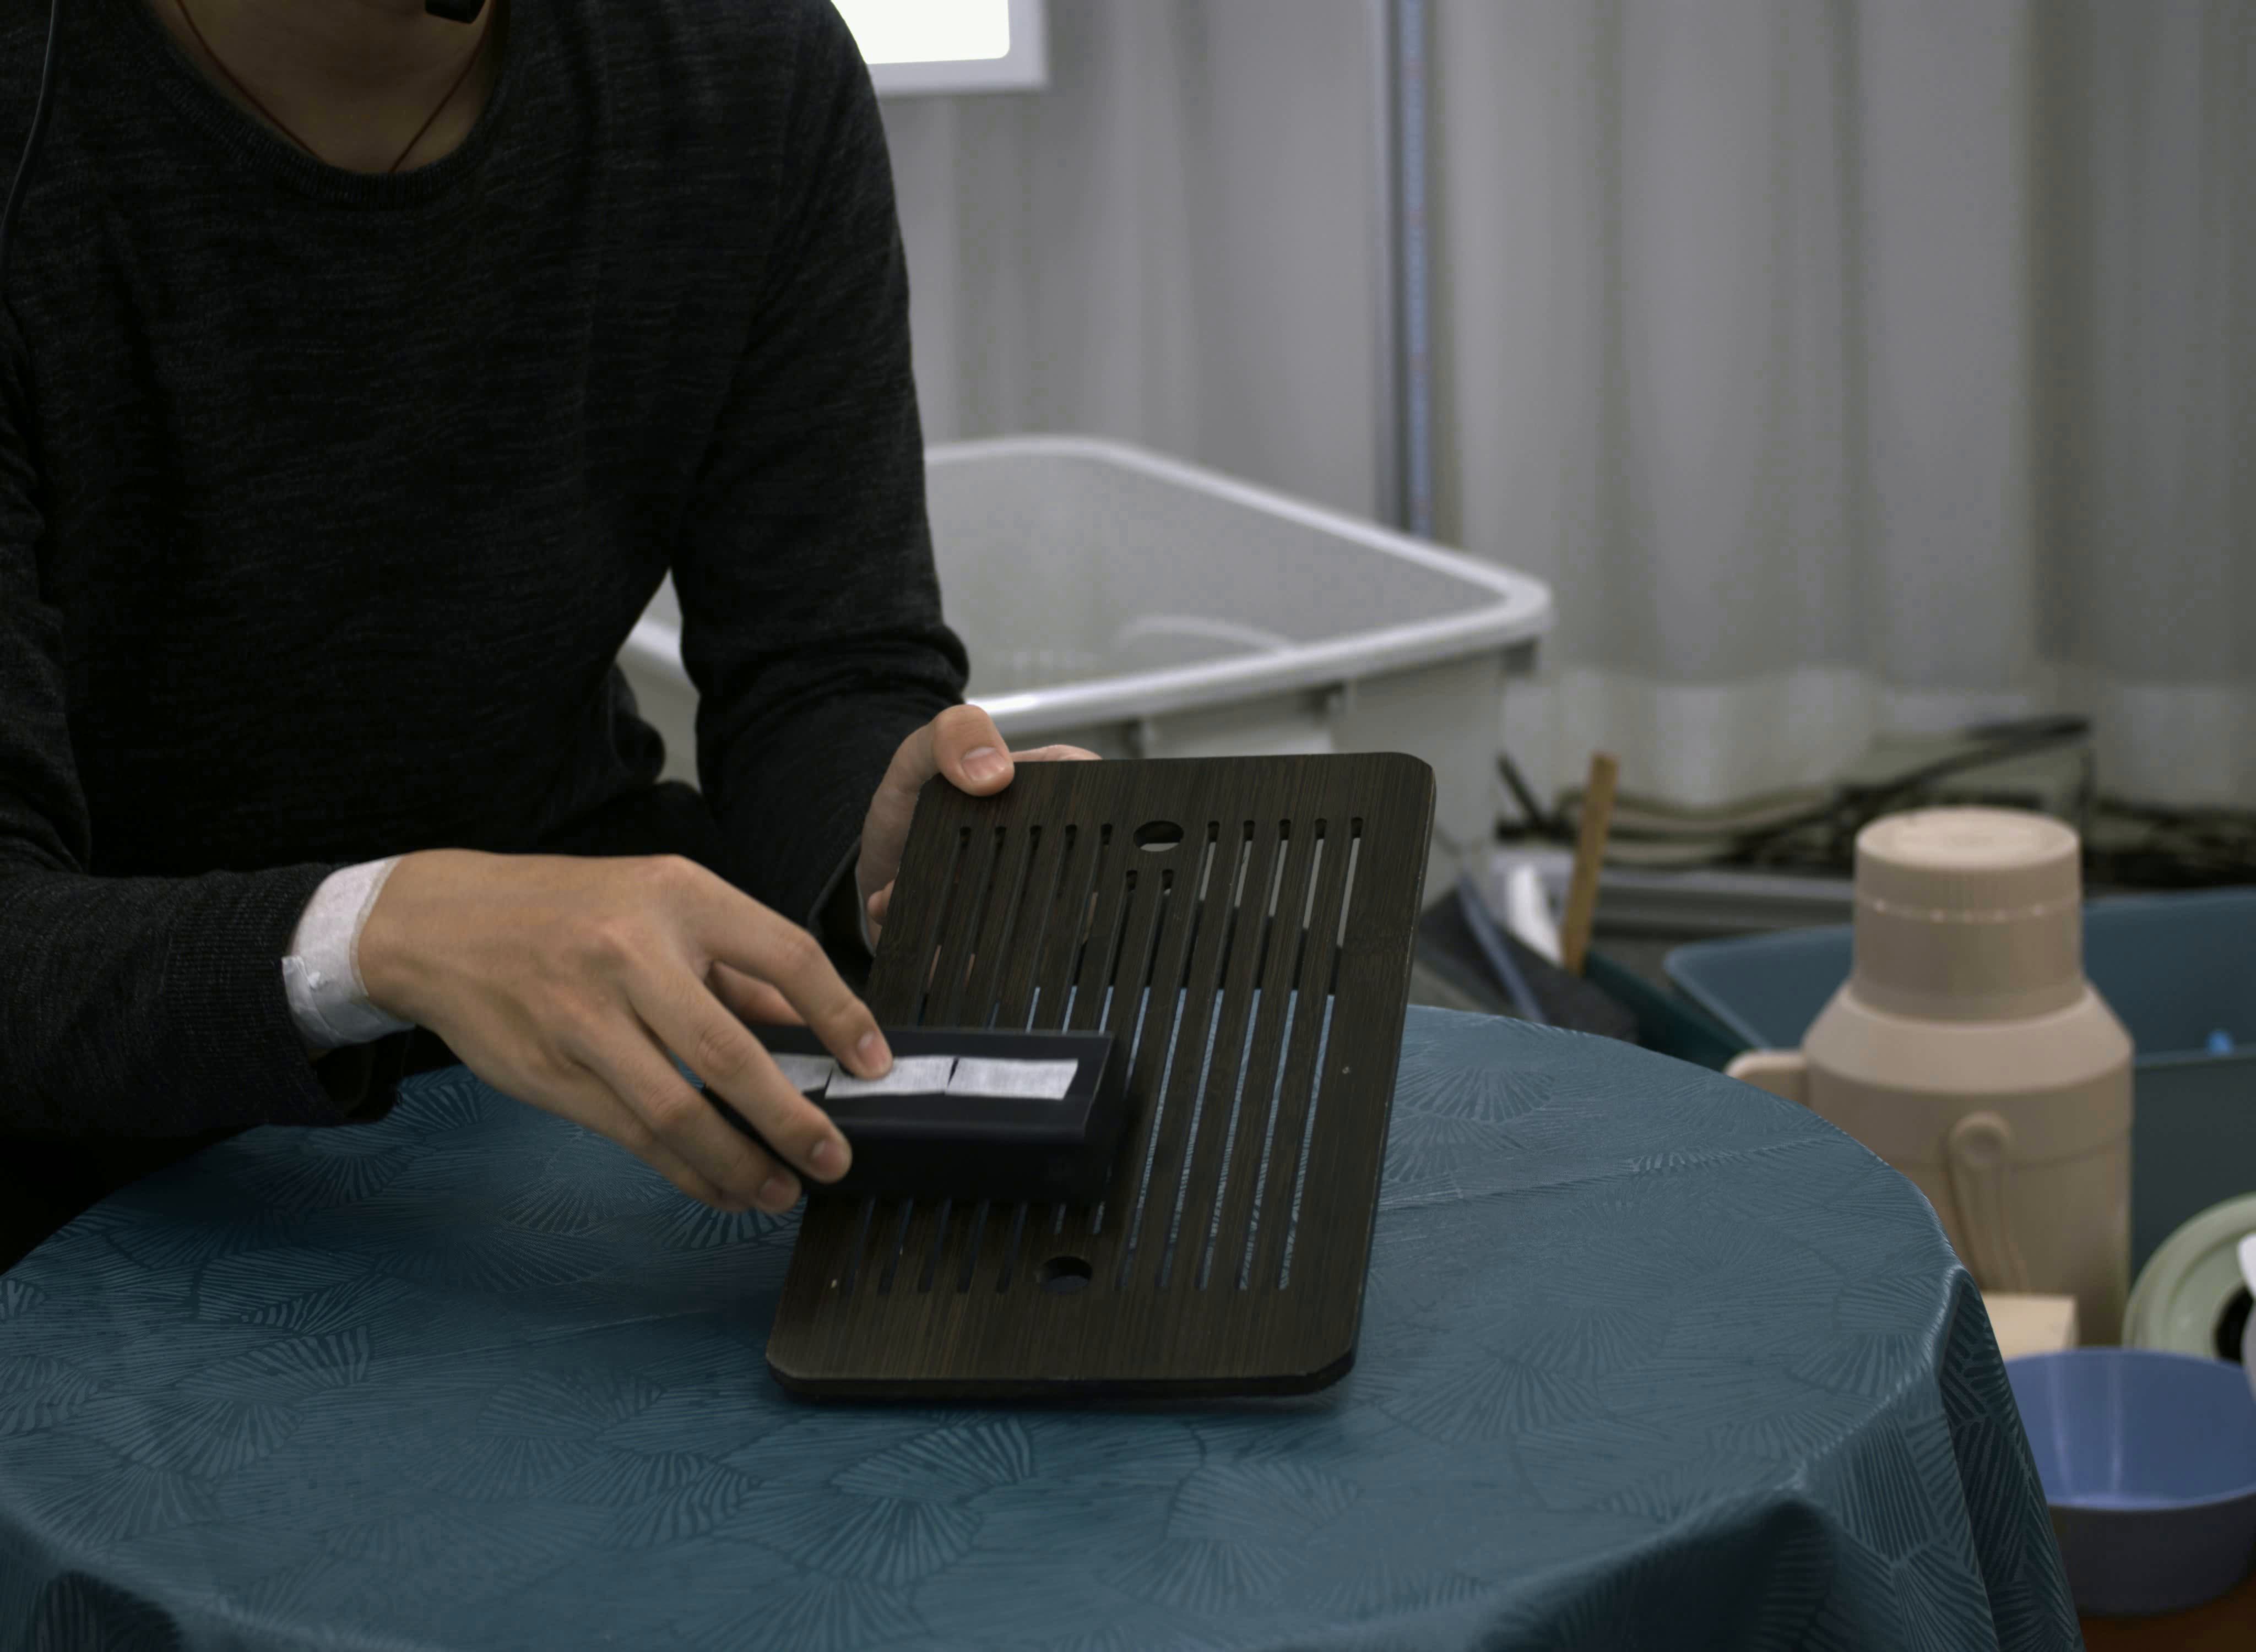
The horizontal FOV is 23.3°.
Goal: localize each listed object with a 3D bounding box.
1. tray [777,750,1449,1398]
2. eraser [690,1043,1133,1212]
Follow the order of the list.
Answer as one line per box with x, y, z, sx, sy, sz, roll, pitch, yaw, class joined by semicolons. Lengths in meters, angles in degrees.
0.002;0.072;1.653;0.170;0.018;0.310;-2;34;10;tray
-0.062;0.088;1.608;0.125;0.030;0.054;-1;33;15;eraser
